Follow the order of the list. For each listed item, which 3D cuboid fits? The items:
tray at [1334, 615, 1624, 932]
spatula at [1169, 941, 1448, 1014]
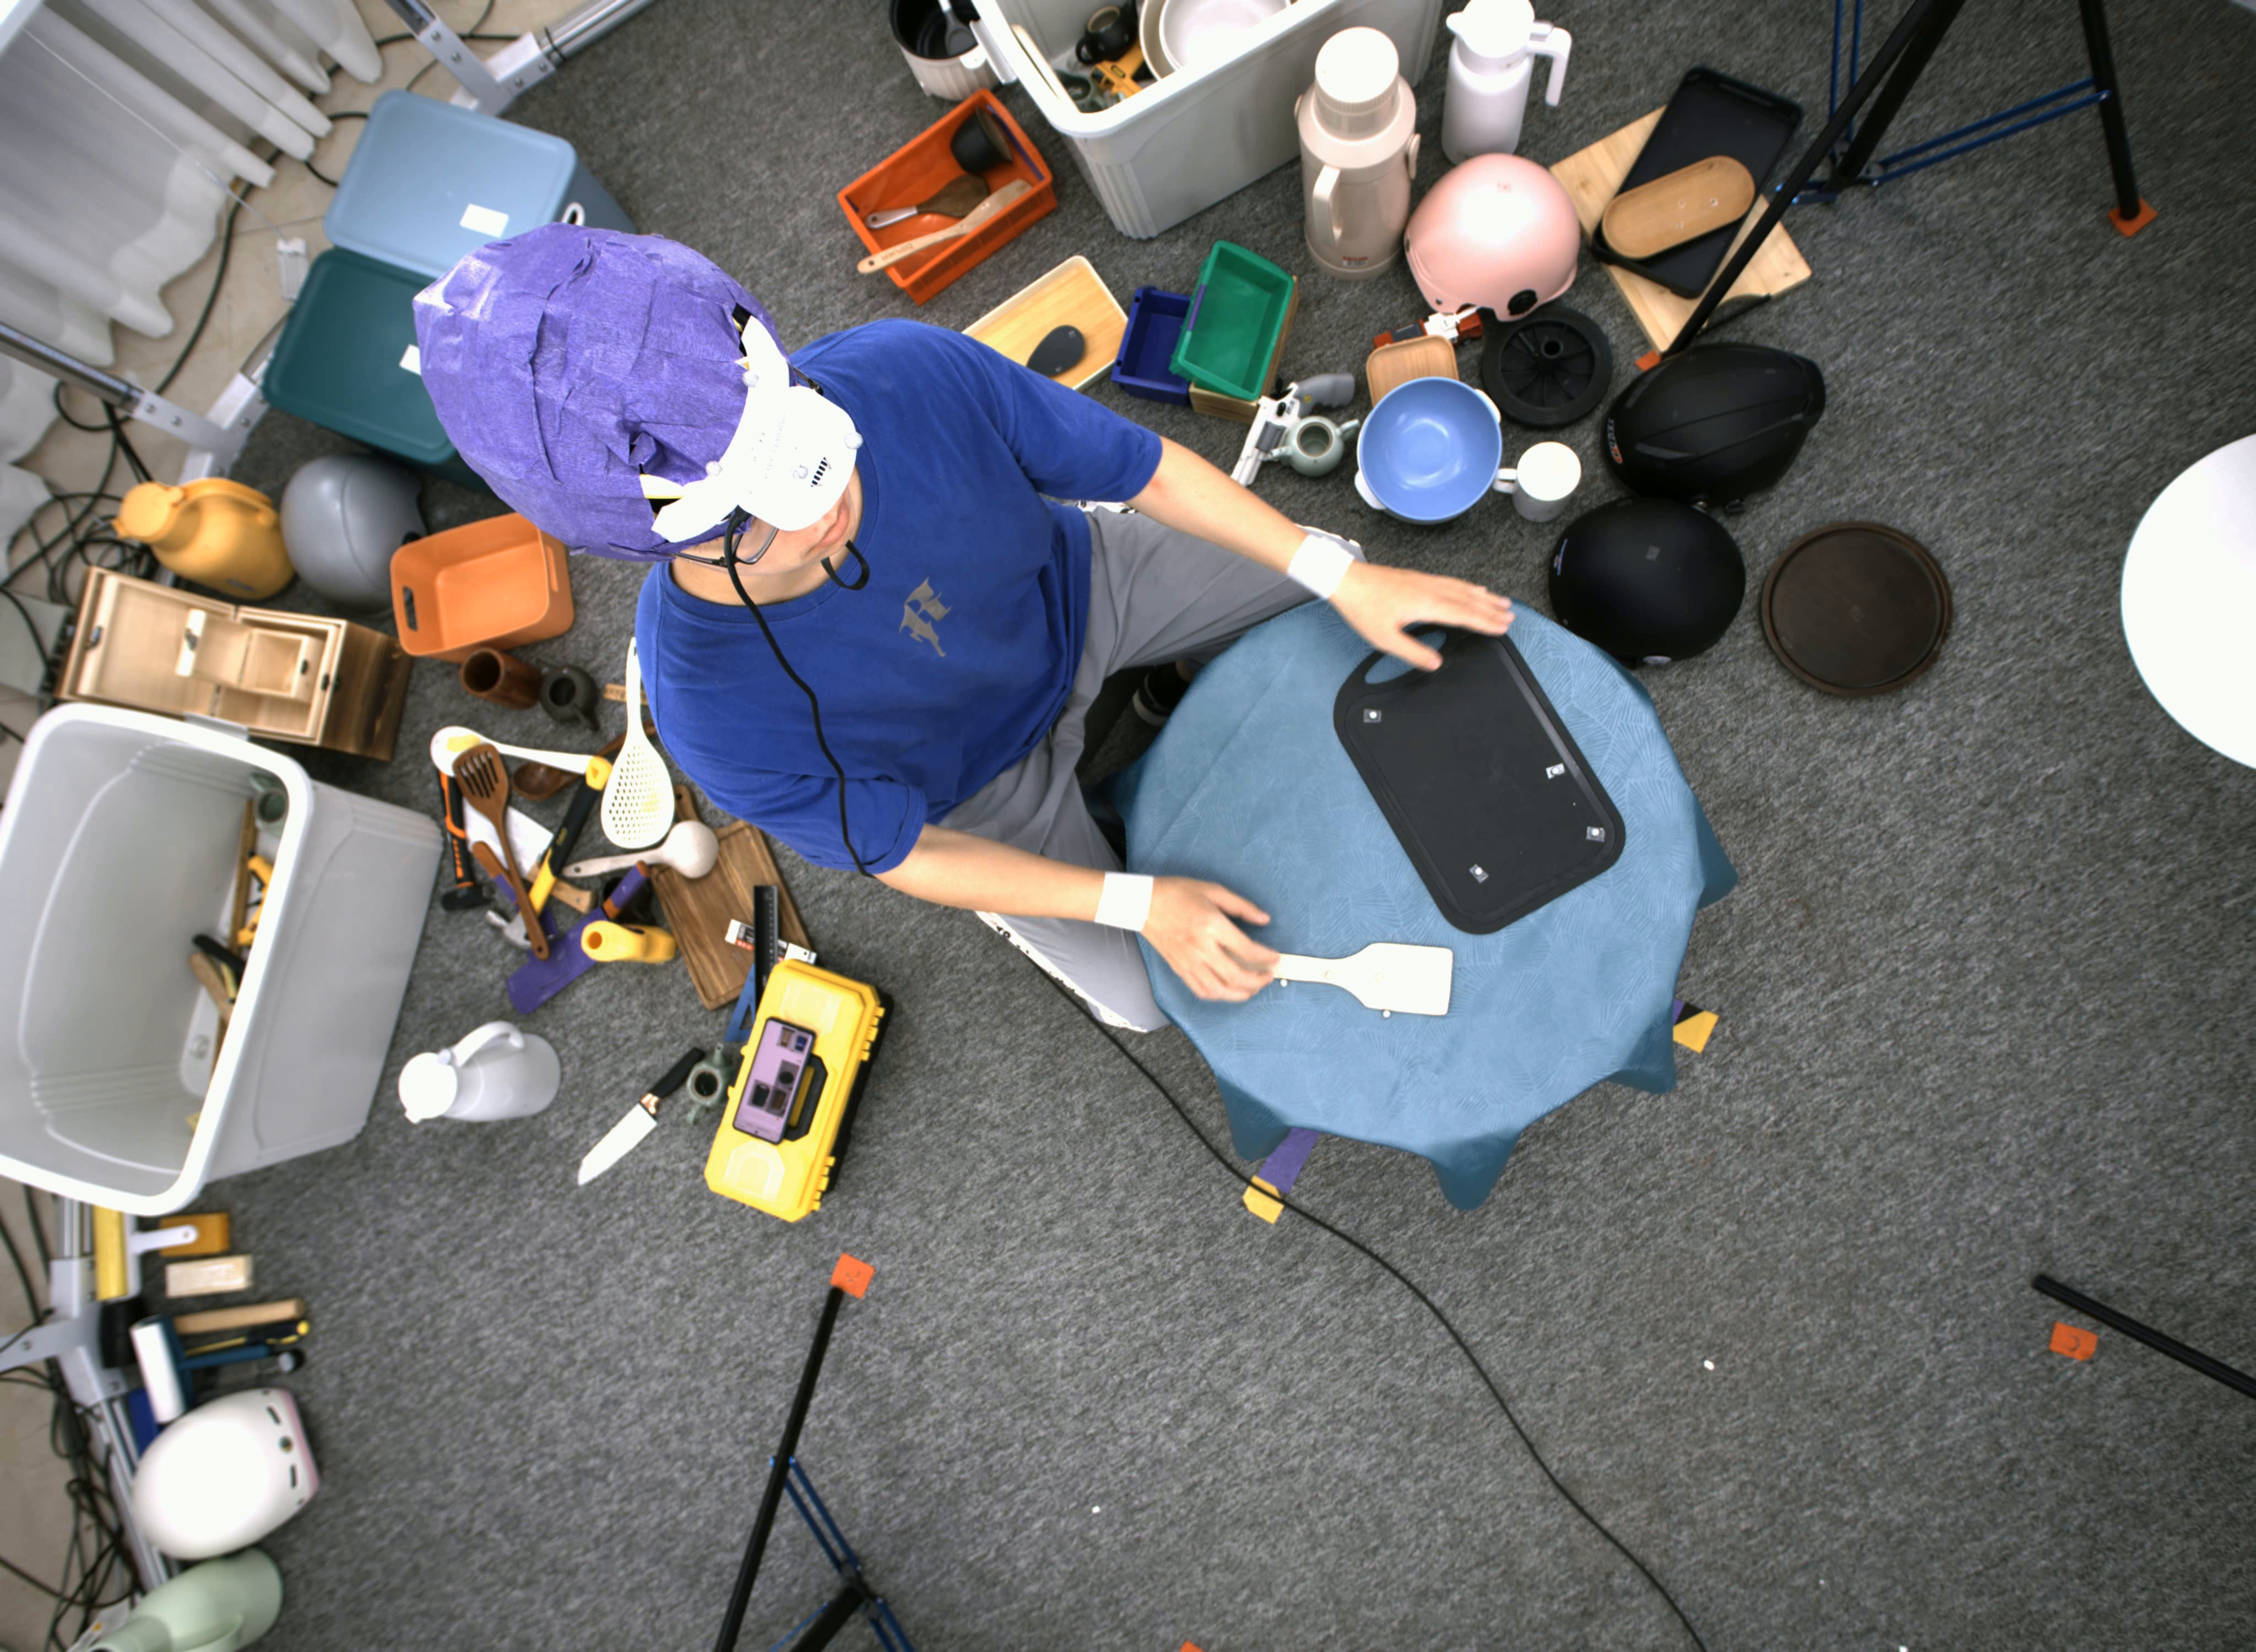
[{"bbox_3d":[0.362,-0.065,1.444,0.212,0.010,0.323,-29,82,8],"label":"tray"},{"bbox_3d":[0.188,0.149,1.465,0.294,0.010,0.072,4,89,11],"label":"spatula"}]
